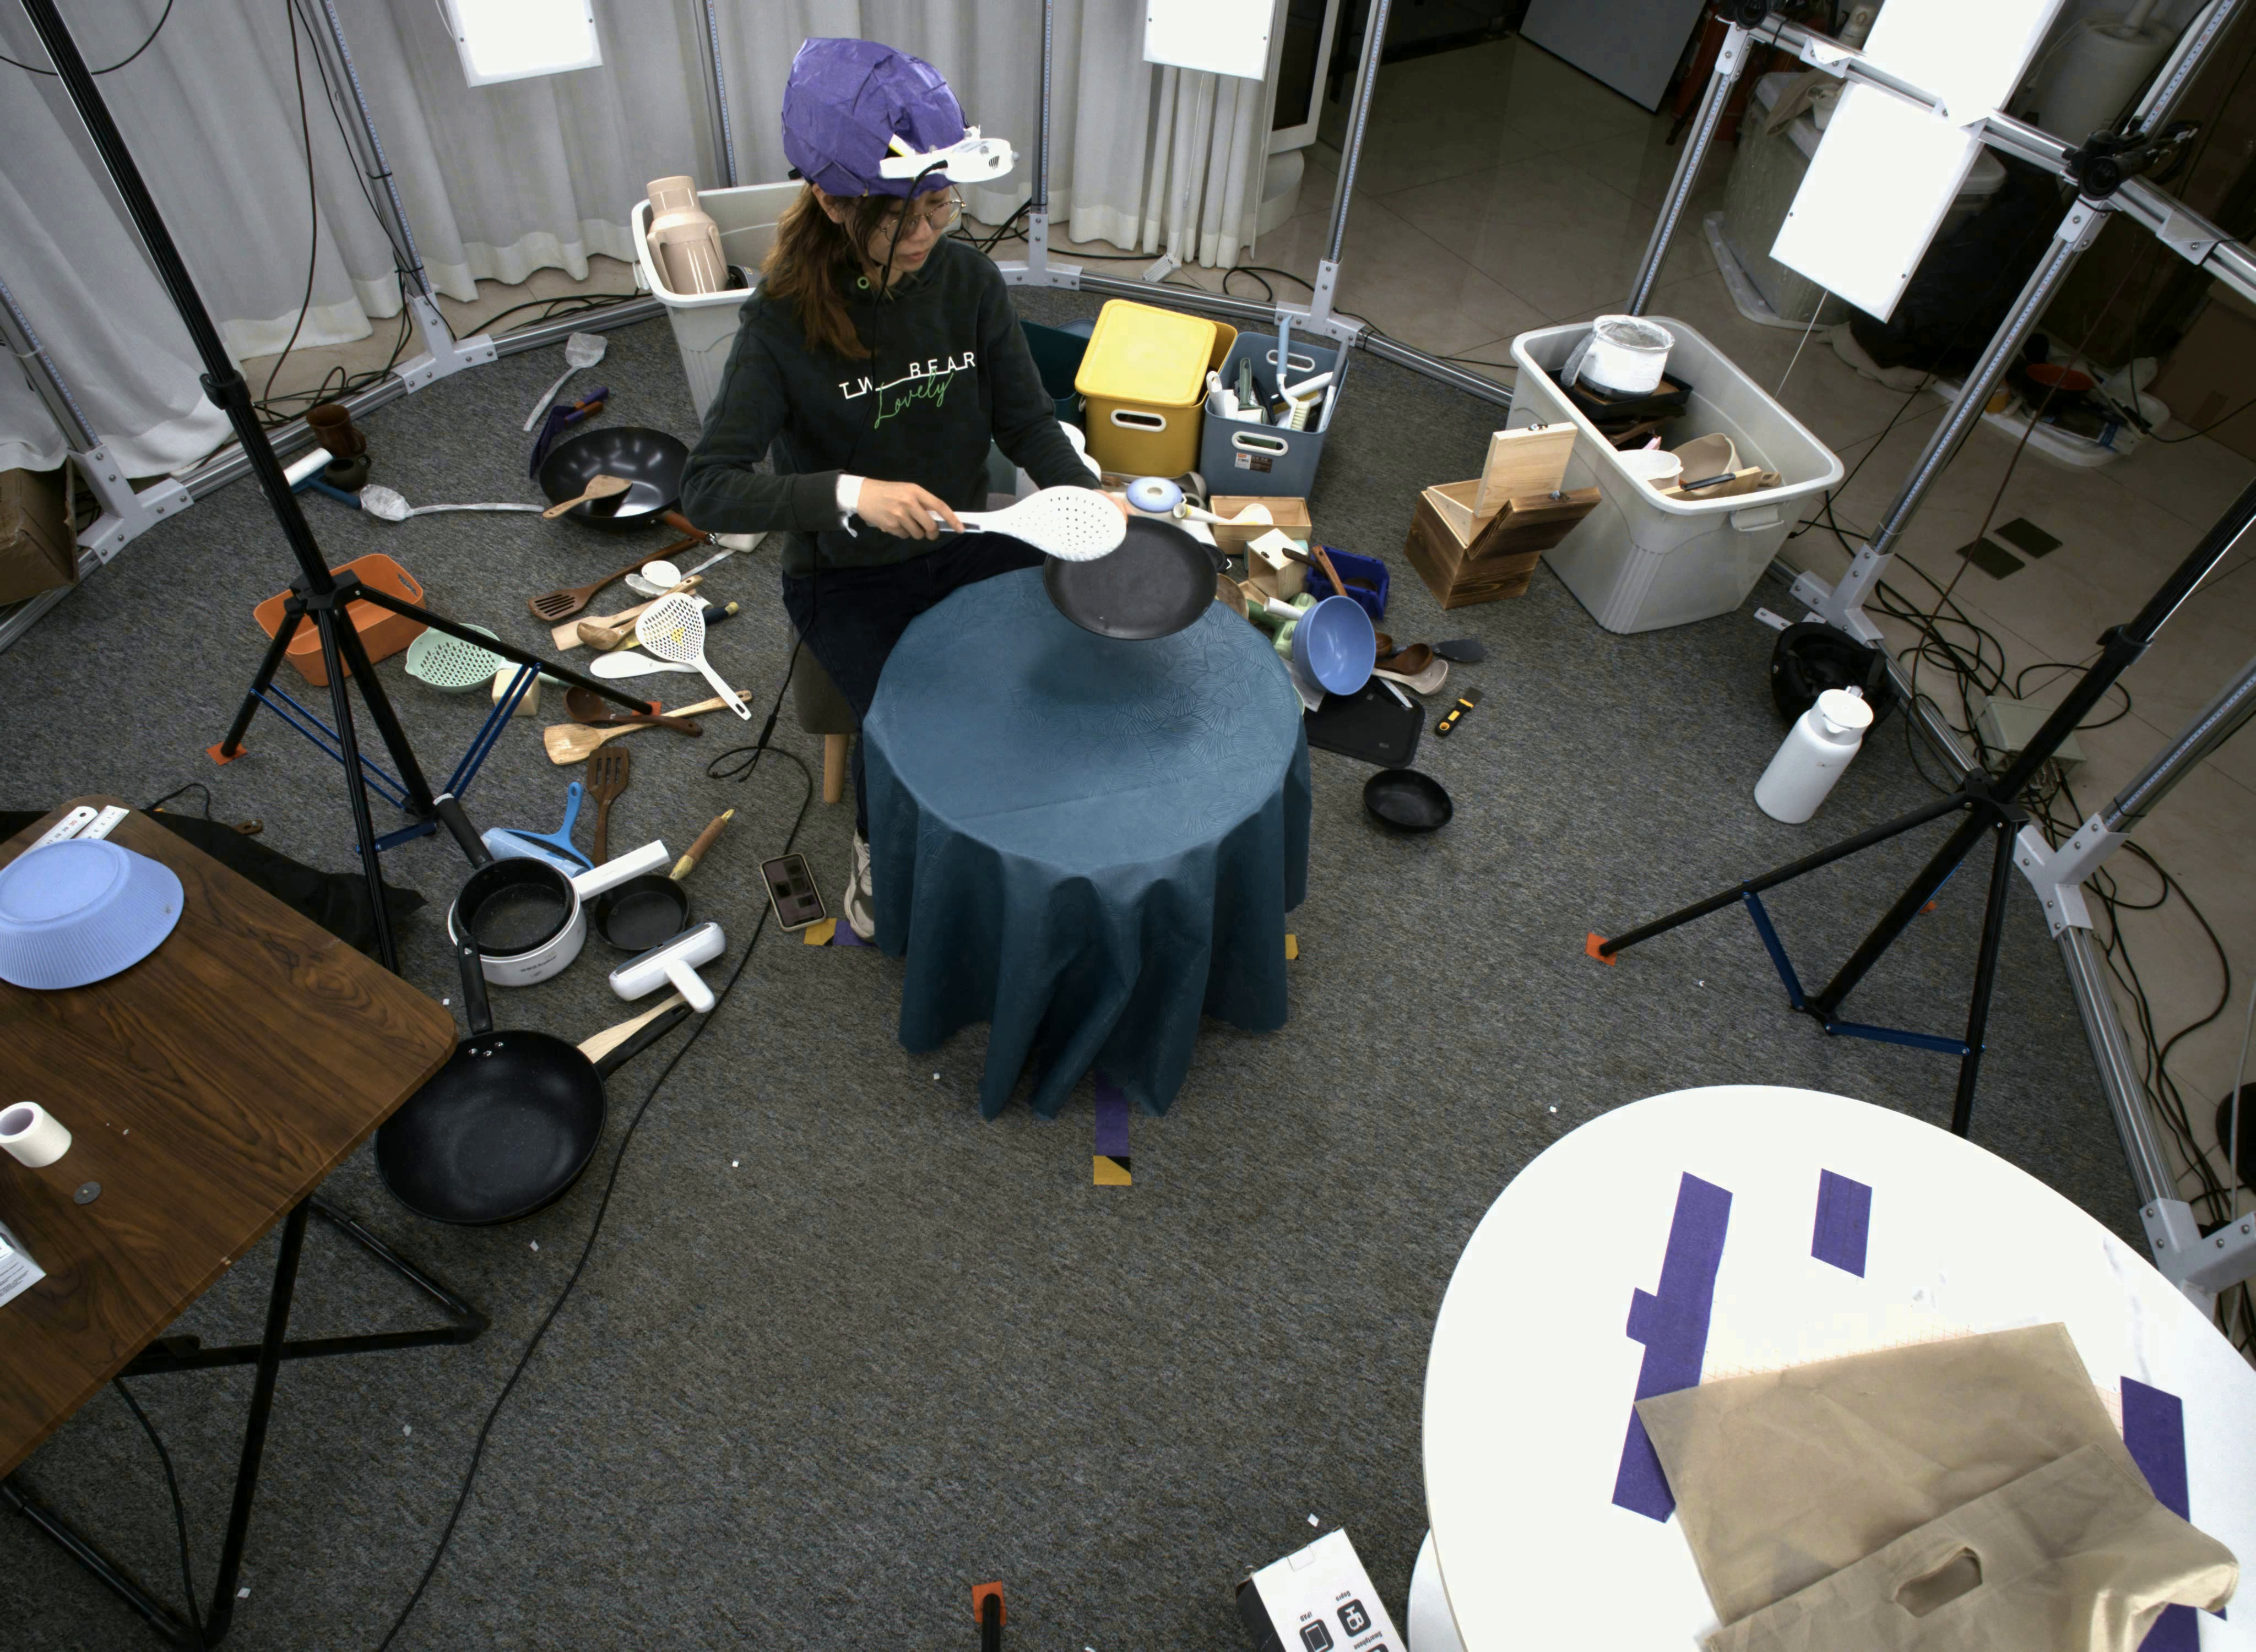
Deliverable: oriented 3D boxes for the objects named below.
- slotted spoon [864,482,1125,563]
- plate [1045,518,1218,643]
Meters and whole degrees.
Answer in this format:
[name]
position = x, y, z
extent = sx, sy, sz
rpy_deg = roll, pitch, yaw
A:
[slotted spoon]
position = -0.178, -0.399, 1.703
extent = 0.350, 0.133, 0.046
rpy_deg = 8, 58, 12
[plate]
position = 0.005, -0.342, 1.807
extent = 0.244, 0.023, 0.250
rpy_deg = 1, 53, -2
